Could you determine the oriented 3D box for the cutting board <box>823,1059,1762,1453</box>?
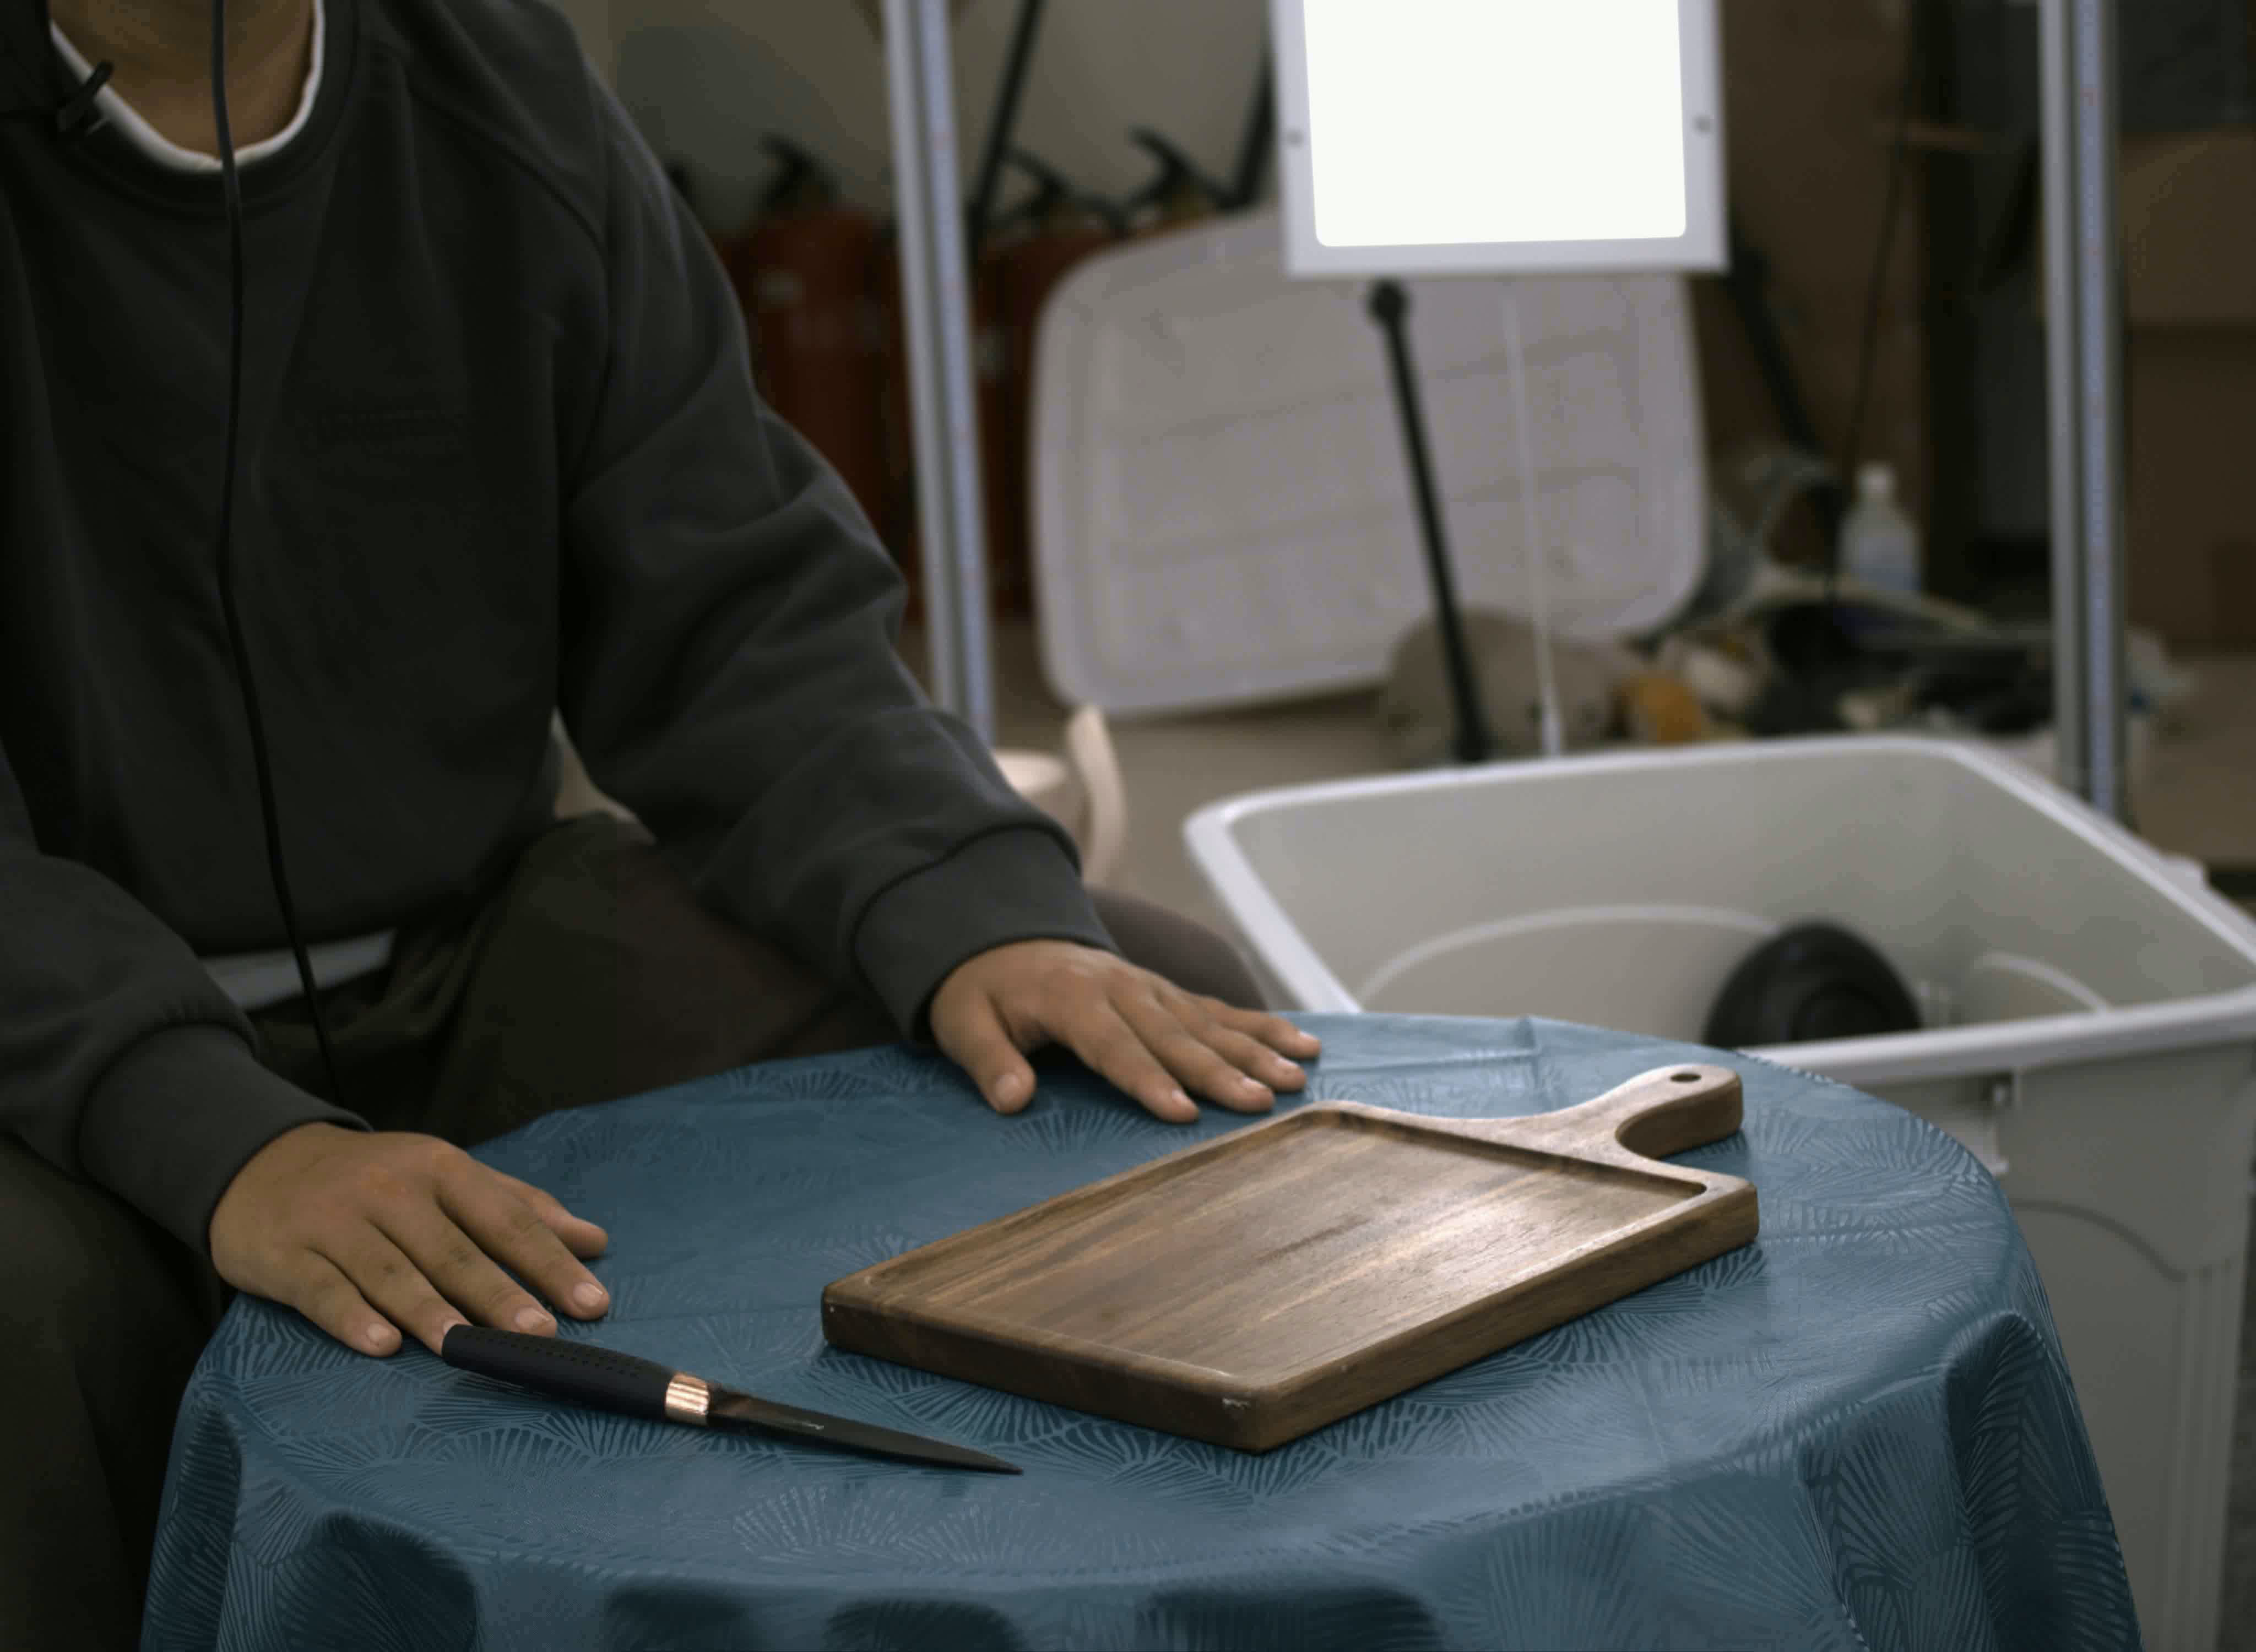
[{"bbox_3d":[0.089,0.130,1.809,0.343,0.023,0.205,-17,18,-42],"label":"cutting board"}]

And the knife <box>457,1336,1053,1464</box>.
[{"bbox_3d":[-0.118,0.179,1.702,0.230,0.017,0.025,6,10,36],"label":"knife"}]
